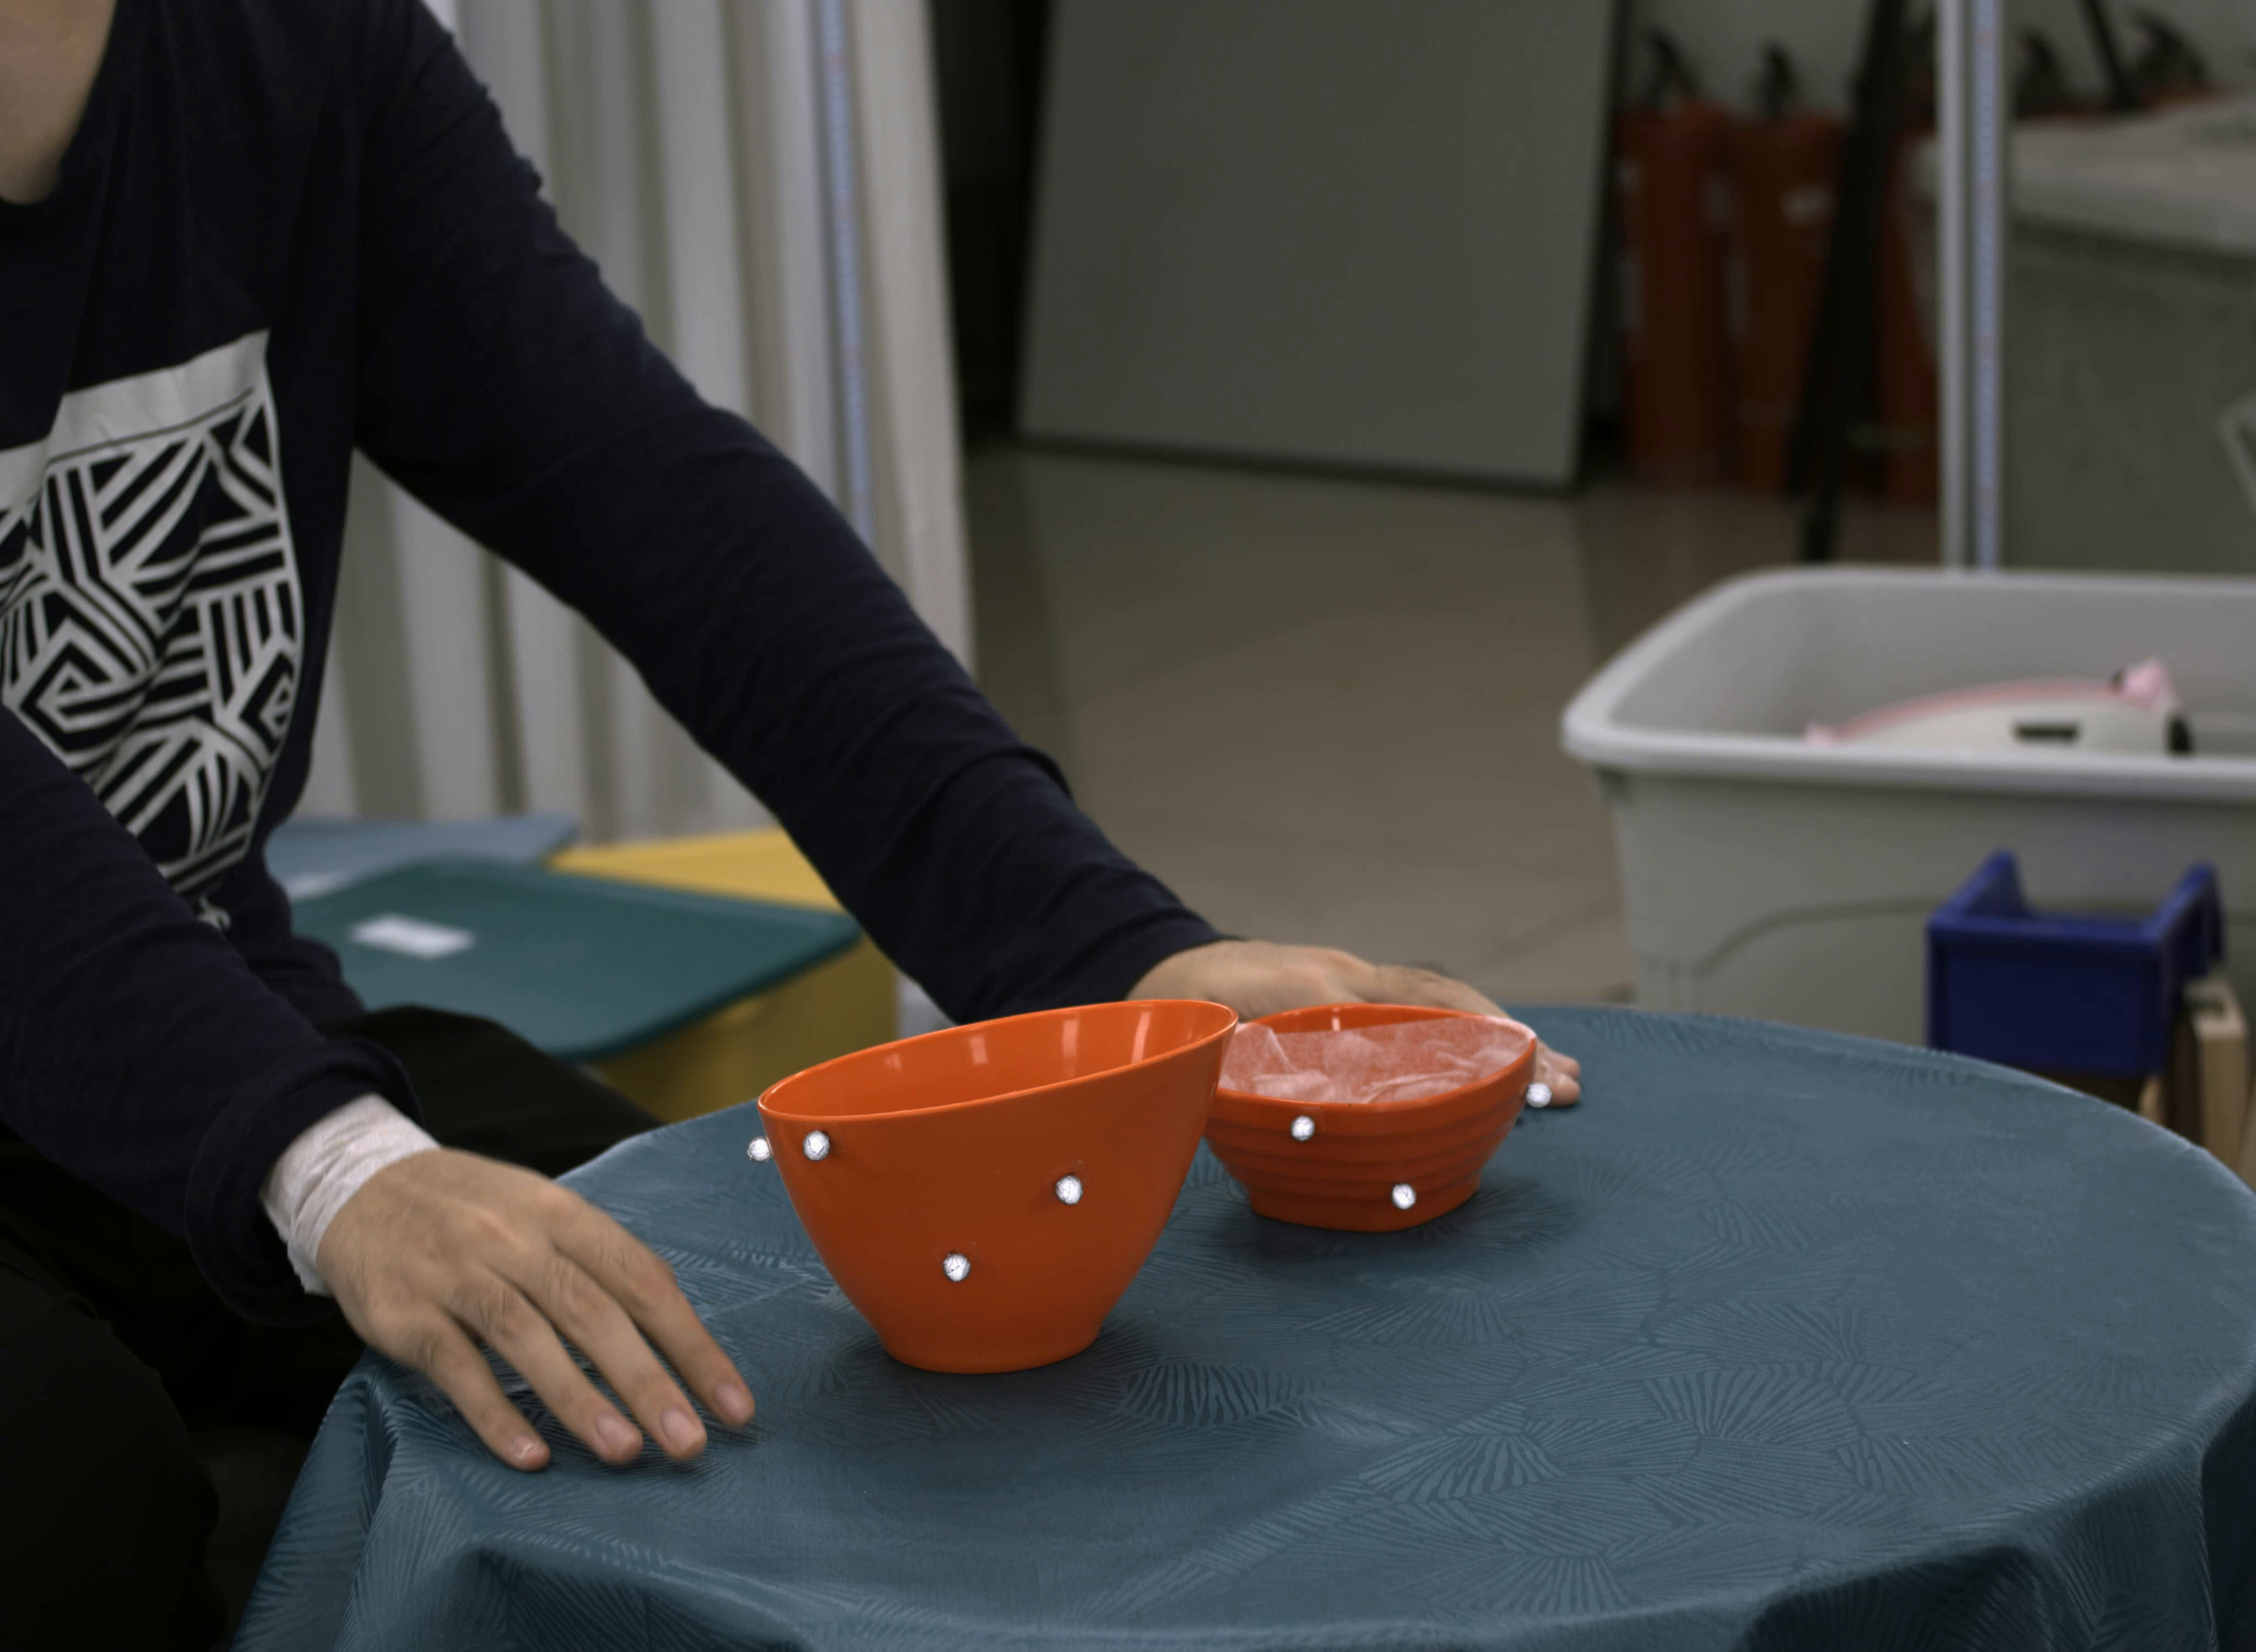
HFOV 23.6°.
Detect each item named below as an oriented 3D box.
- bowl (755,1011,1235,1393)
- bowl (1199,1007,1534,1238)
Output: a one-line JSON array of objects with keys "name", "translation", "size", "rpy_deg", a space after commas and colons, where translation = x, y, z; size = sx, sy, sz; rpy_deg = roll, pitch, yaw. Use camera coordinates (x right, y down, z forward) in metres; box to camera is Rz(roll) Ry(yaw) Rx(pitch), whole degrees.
[{"name": "bowl", "translation": [-0.037, 0.112, 1.620], "size": [0.146, 0.106, 0.148], "rpy_deg": [-5, 11, 0]}, {"name": "bowl", "translation": [0.076, 0.098, 1.745], "size": [0.117, 0.052, 0.119], "rpy_deg": [-6, 14, 1]}]
